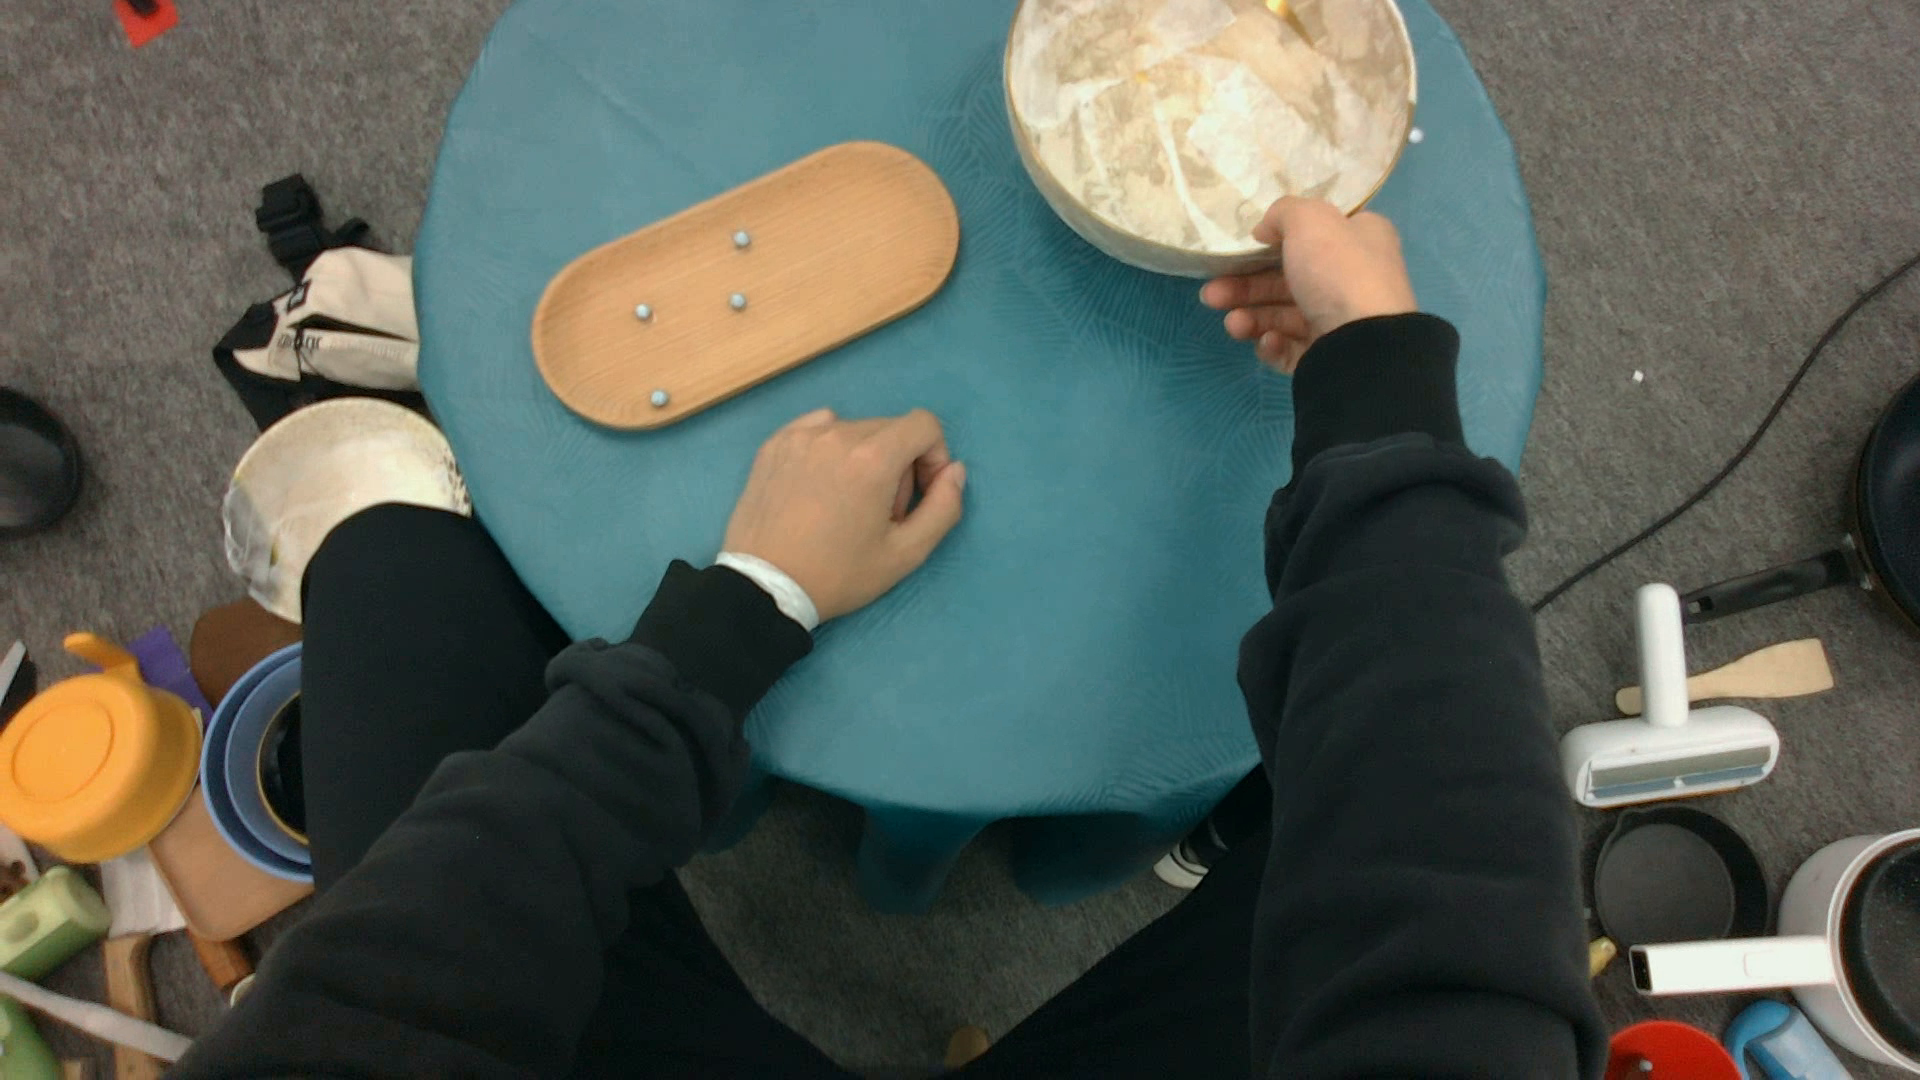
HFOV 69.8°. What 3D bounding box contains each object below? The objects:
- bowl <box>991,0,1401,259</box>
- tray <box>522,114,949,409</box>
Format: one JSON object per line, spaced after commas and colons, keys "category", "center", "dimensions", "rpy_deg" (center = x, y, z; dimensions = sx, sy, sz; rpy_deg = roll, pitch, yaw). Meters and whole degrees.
{"category": "bowl", "center": [0.110, -0.228, 0.711], "dimensions": [0.215, 0.094, 0.215], "rpy_deg": [1, 77, -4]}
{"category": "tray", "center": [-0.113, -0.145, 0.714], "dimensions": [0.231, 0.020, 0.102], "rpy_deg": [-28, 83, -12]}
